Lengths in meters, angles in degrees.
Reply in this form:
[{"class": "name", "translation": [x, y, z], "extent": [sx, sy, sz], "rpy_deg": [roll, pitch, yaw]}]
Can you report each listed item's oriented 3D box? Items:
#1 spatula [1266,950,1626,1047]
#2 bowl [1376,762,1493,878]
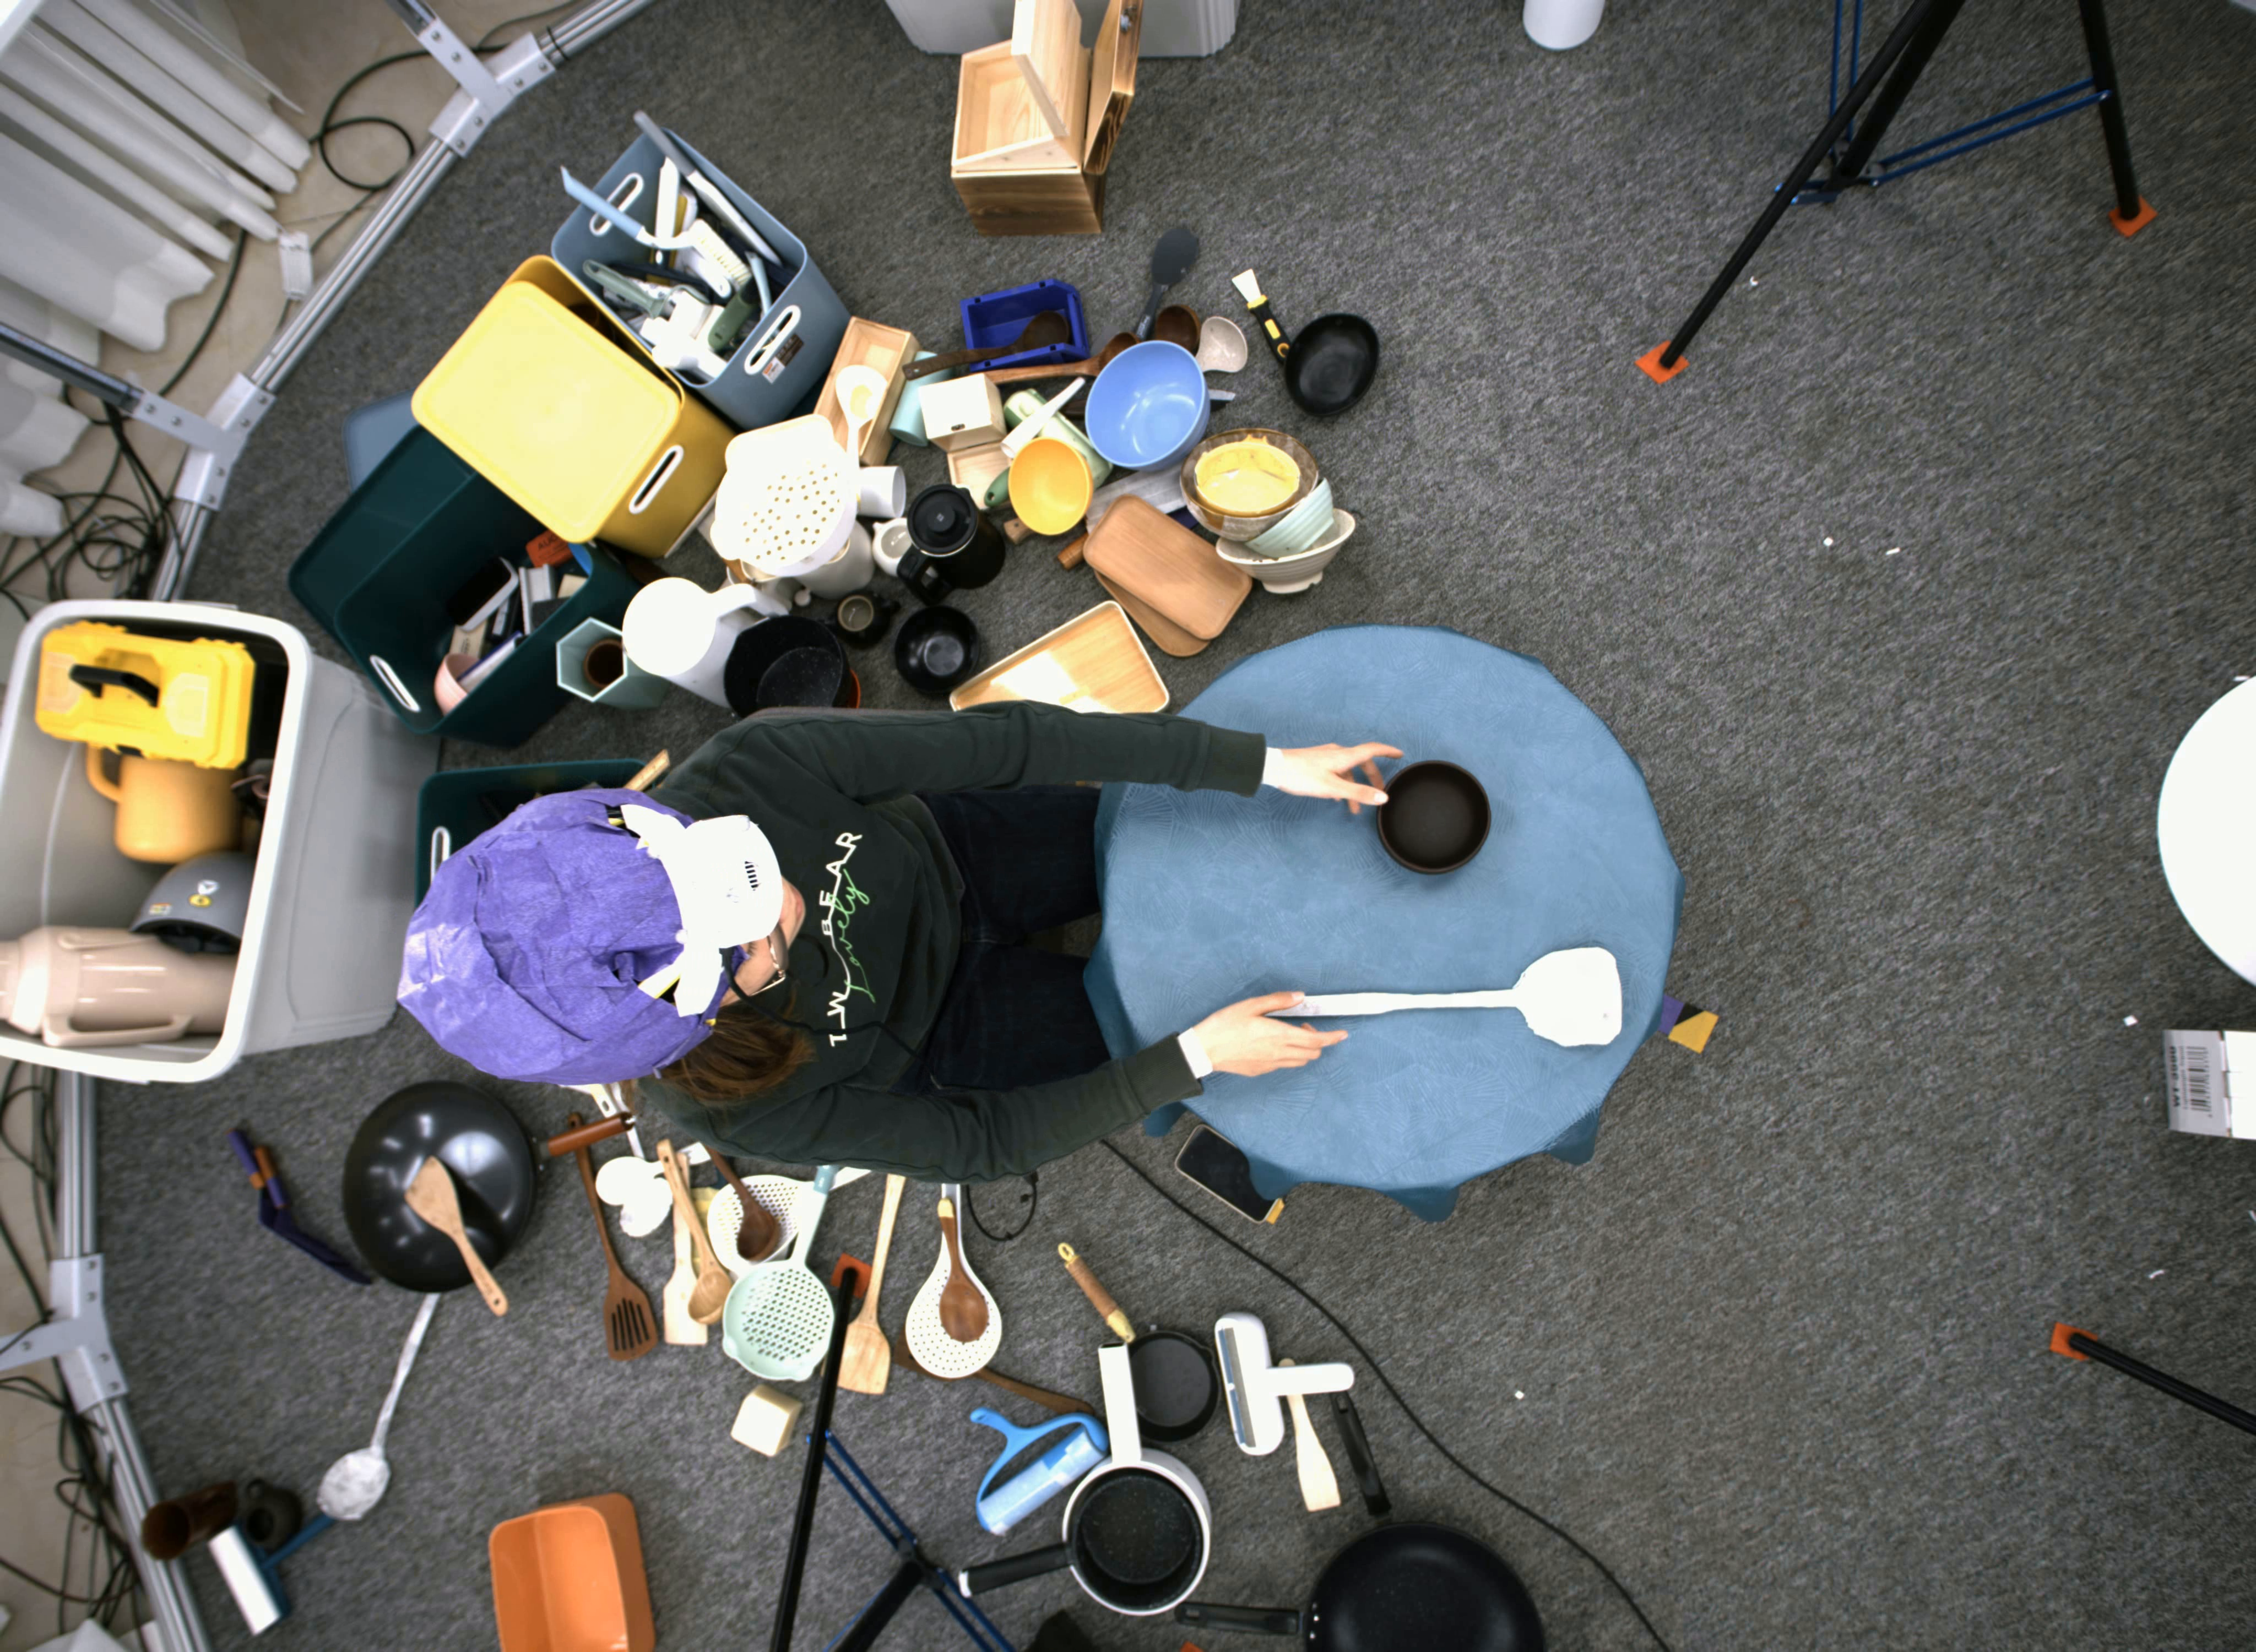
[{"class": "spatula", "translation": [0.323, 0.178, 1.428], "extent": [0.366, 0.045, 0.098], "rpy_deg": [-2, 87, 10]}, {"class": "bowl", "translation": [0.316, -0.005, 1.425], "extent": [0.118, 0.070, 0.117], "rpy_deg": [-1, 84, 11]}]
